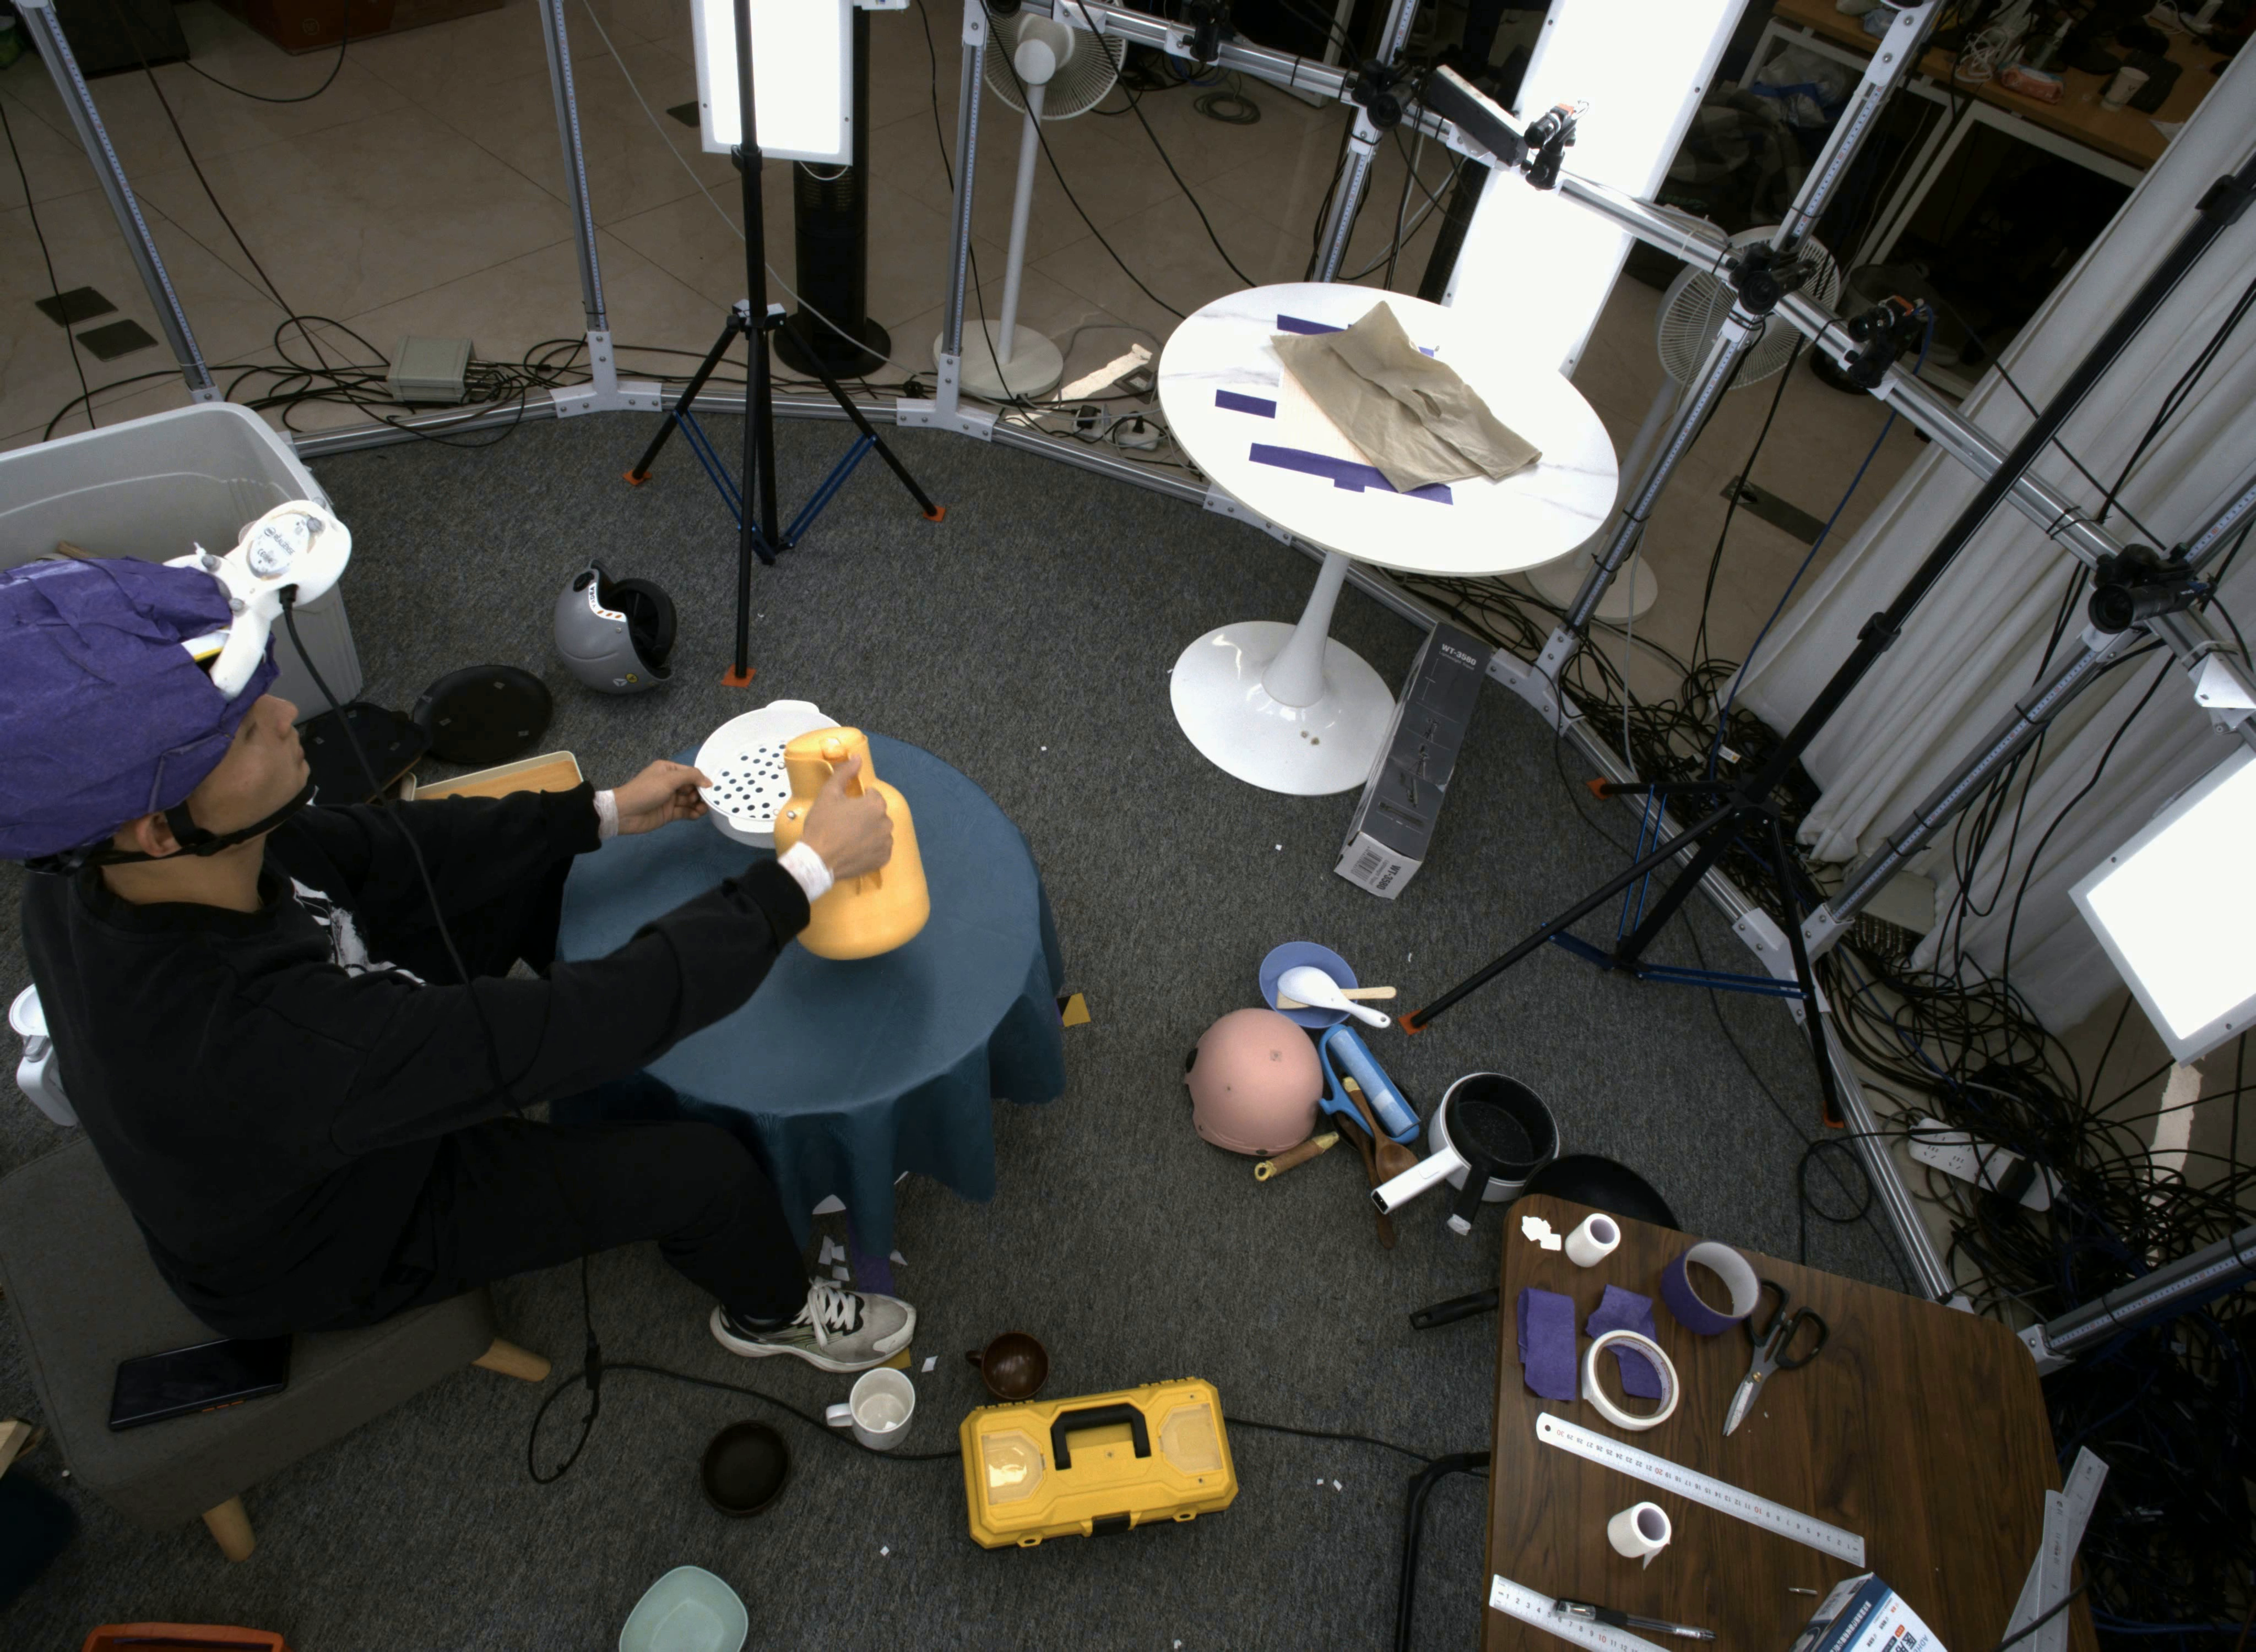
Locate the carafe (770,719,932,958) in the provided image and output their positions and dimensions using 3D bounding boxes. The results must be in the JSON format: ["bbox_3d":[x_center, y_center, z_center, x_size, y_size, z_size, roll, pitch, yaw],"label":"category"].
[{"bbox_3d":[-0.324,0.014,1.484,0.164,0.268,0.196,-18,19,-18],"label":"carafe"}]

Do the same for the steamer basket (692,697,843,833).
[{"bbox_3d":[-0.446,-0.074,1.639,0.200,0.071,0.226,7,40,-4],"label":"steamer basket"}]
